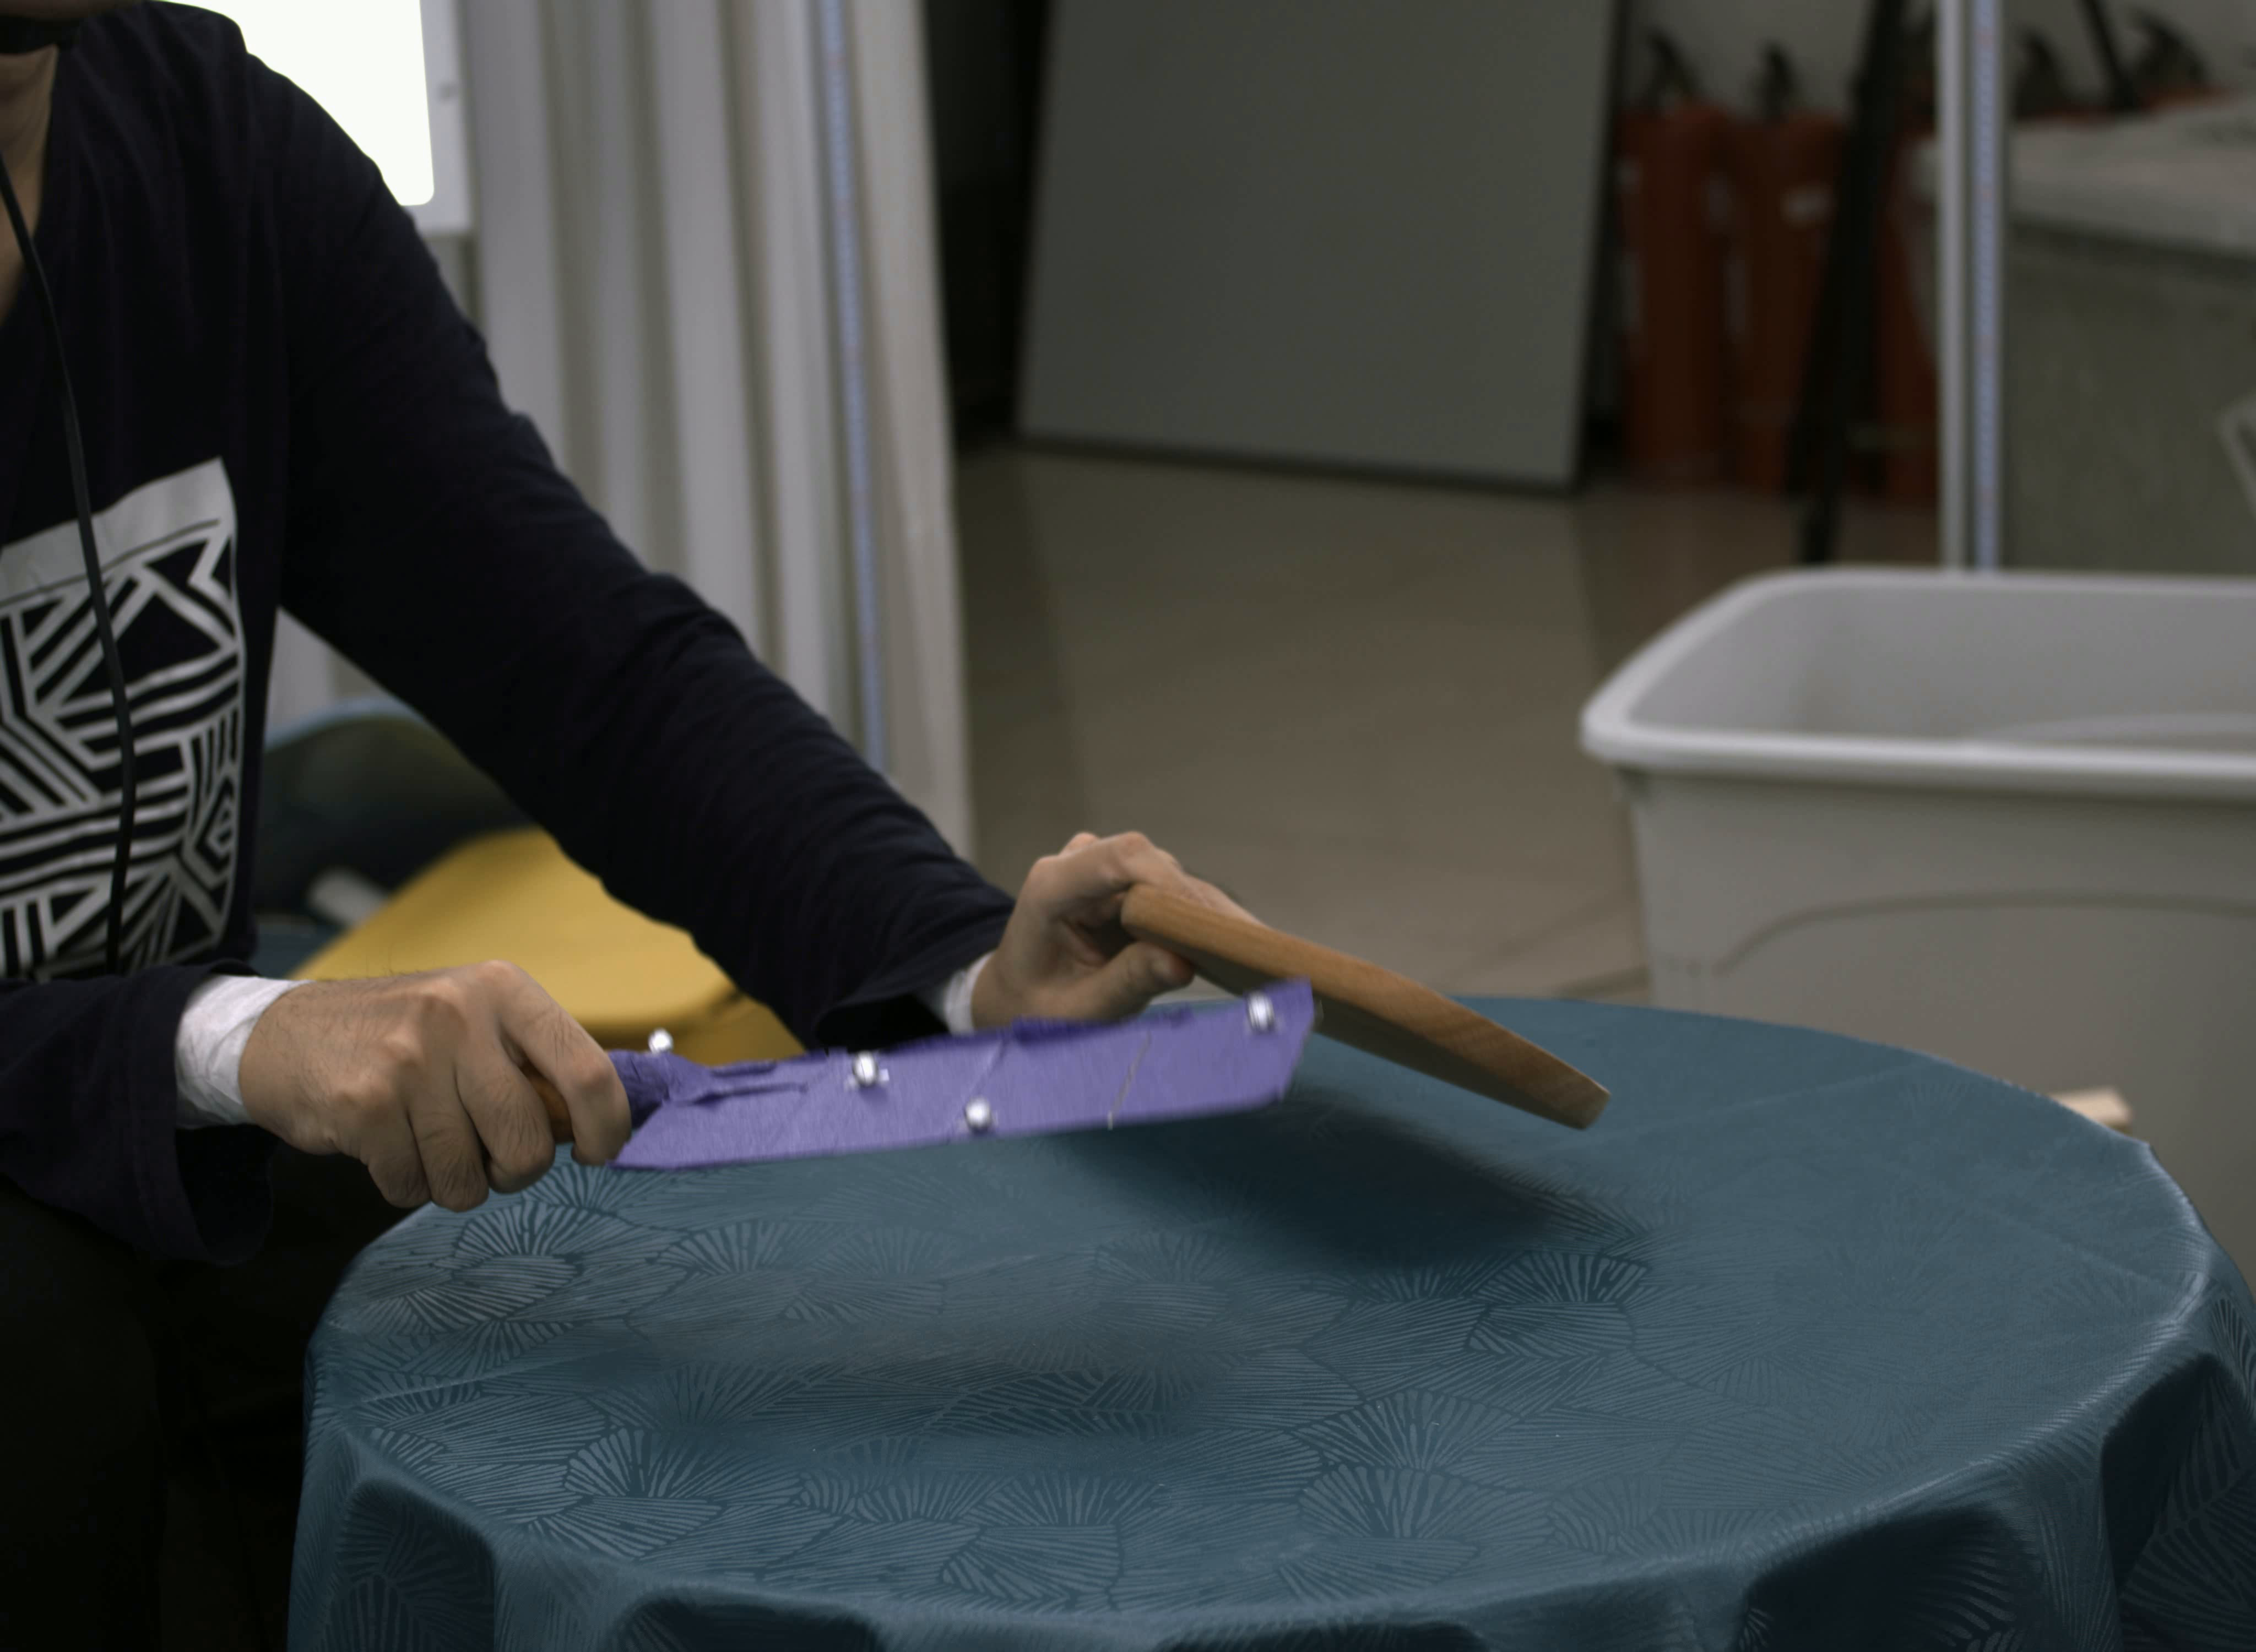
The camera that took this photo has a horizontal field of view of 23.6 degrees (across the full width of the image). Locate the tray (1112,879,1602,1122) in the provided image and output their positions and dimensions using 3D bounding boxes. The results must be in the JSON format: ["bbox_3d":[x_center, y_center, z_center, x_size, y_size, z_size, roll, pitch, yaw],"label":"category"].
[{"bbox_3d":[0.072,0.057,1.772,0.100,0.020,0.233,33,-9,-29],"label":"tray"}]

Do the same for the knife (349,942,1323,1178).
[{"bbox_3d":[-0.097,0.075,1.619,0.314,0.032,0.103,-11,12,16],"label":"knife"}]
